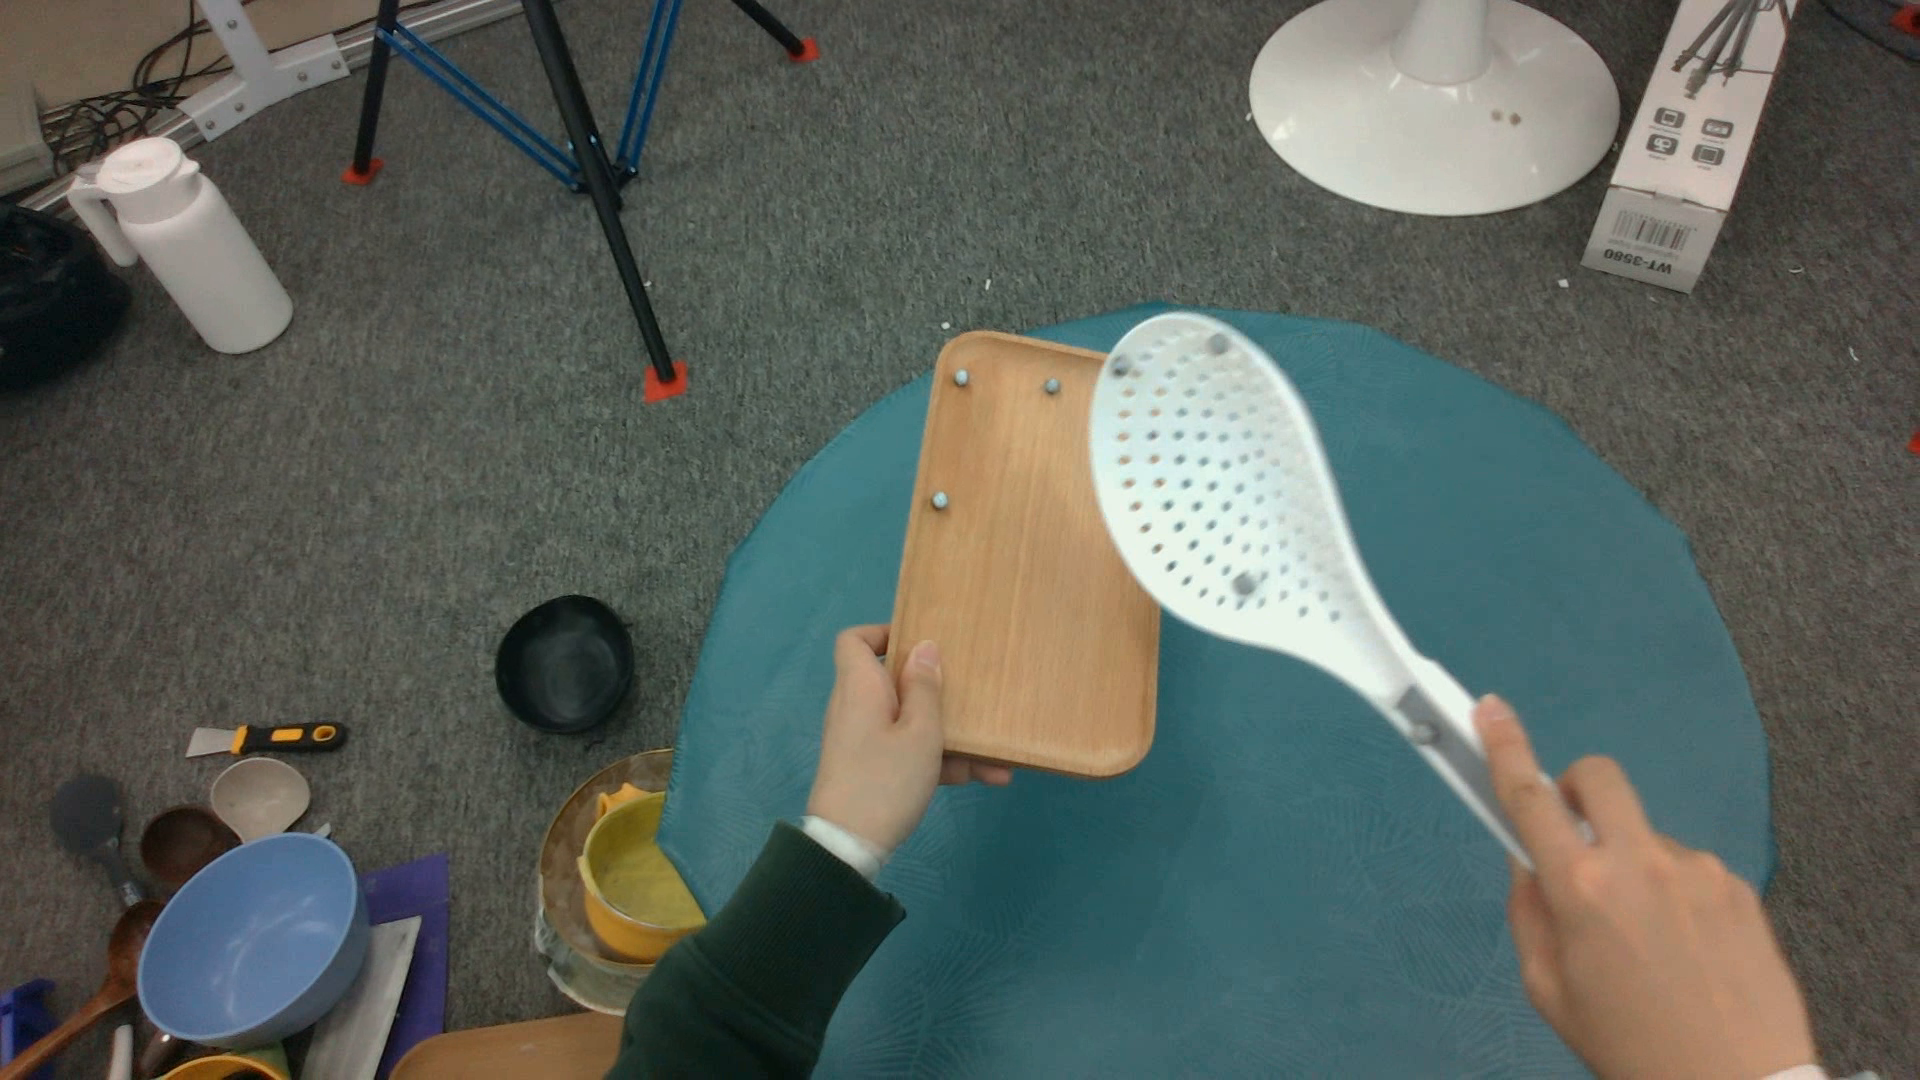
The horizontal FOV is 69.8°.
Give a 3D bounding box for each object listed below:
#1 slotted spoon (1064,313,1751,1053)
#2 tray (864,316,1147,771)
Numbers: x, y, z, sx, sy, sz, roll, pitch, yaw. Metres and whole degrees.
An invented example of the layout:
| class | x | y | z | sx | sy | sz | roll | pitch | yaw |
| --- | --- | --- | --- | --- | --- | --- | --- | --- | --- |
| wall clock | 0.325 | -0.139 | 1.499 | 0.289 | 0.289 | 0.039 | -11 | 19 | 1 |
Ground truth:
| class | x | y | z | sx | sy | sz | roll | pitch | yaw |
| --- | --- | --- | --- | --- | --- | --- | --- | --- | --- |
| slotted spoon | 0.152 | 0.041 | 0.529 | 0.046 | 0.135 | 0.350 | -17 | 54 | -26 |
| tray | 0.029 | -0.007 | 0.679 | 0.130 | 0.023 | 0.252 | 10 | 56 | -3 |
